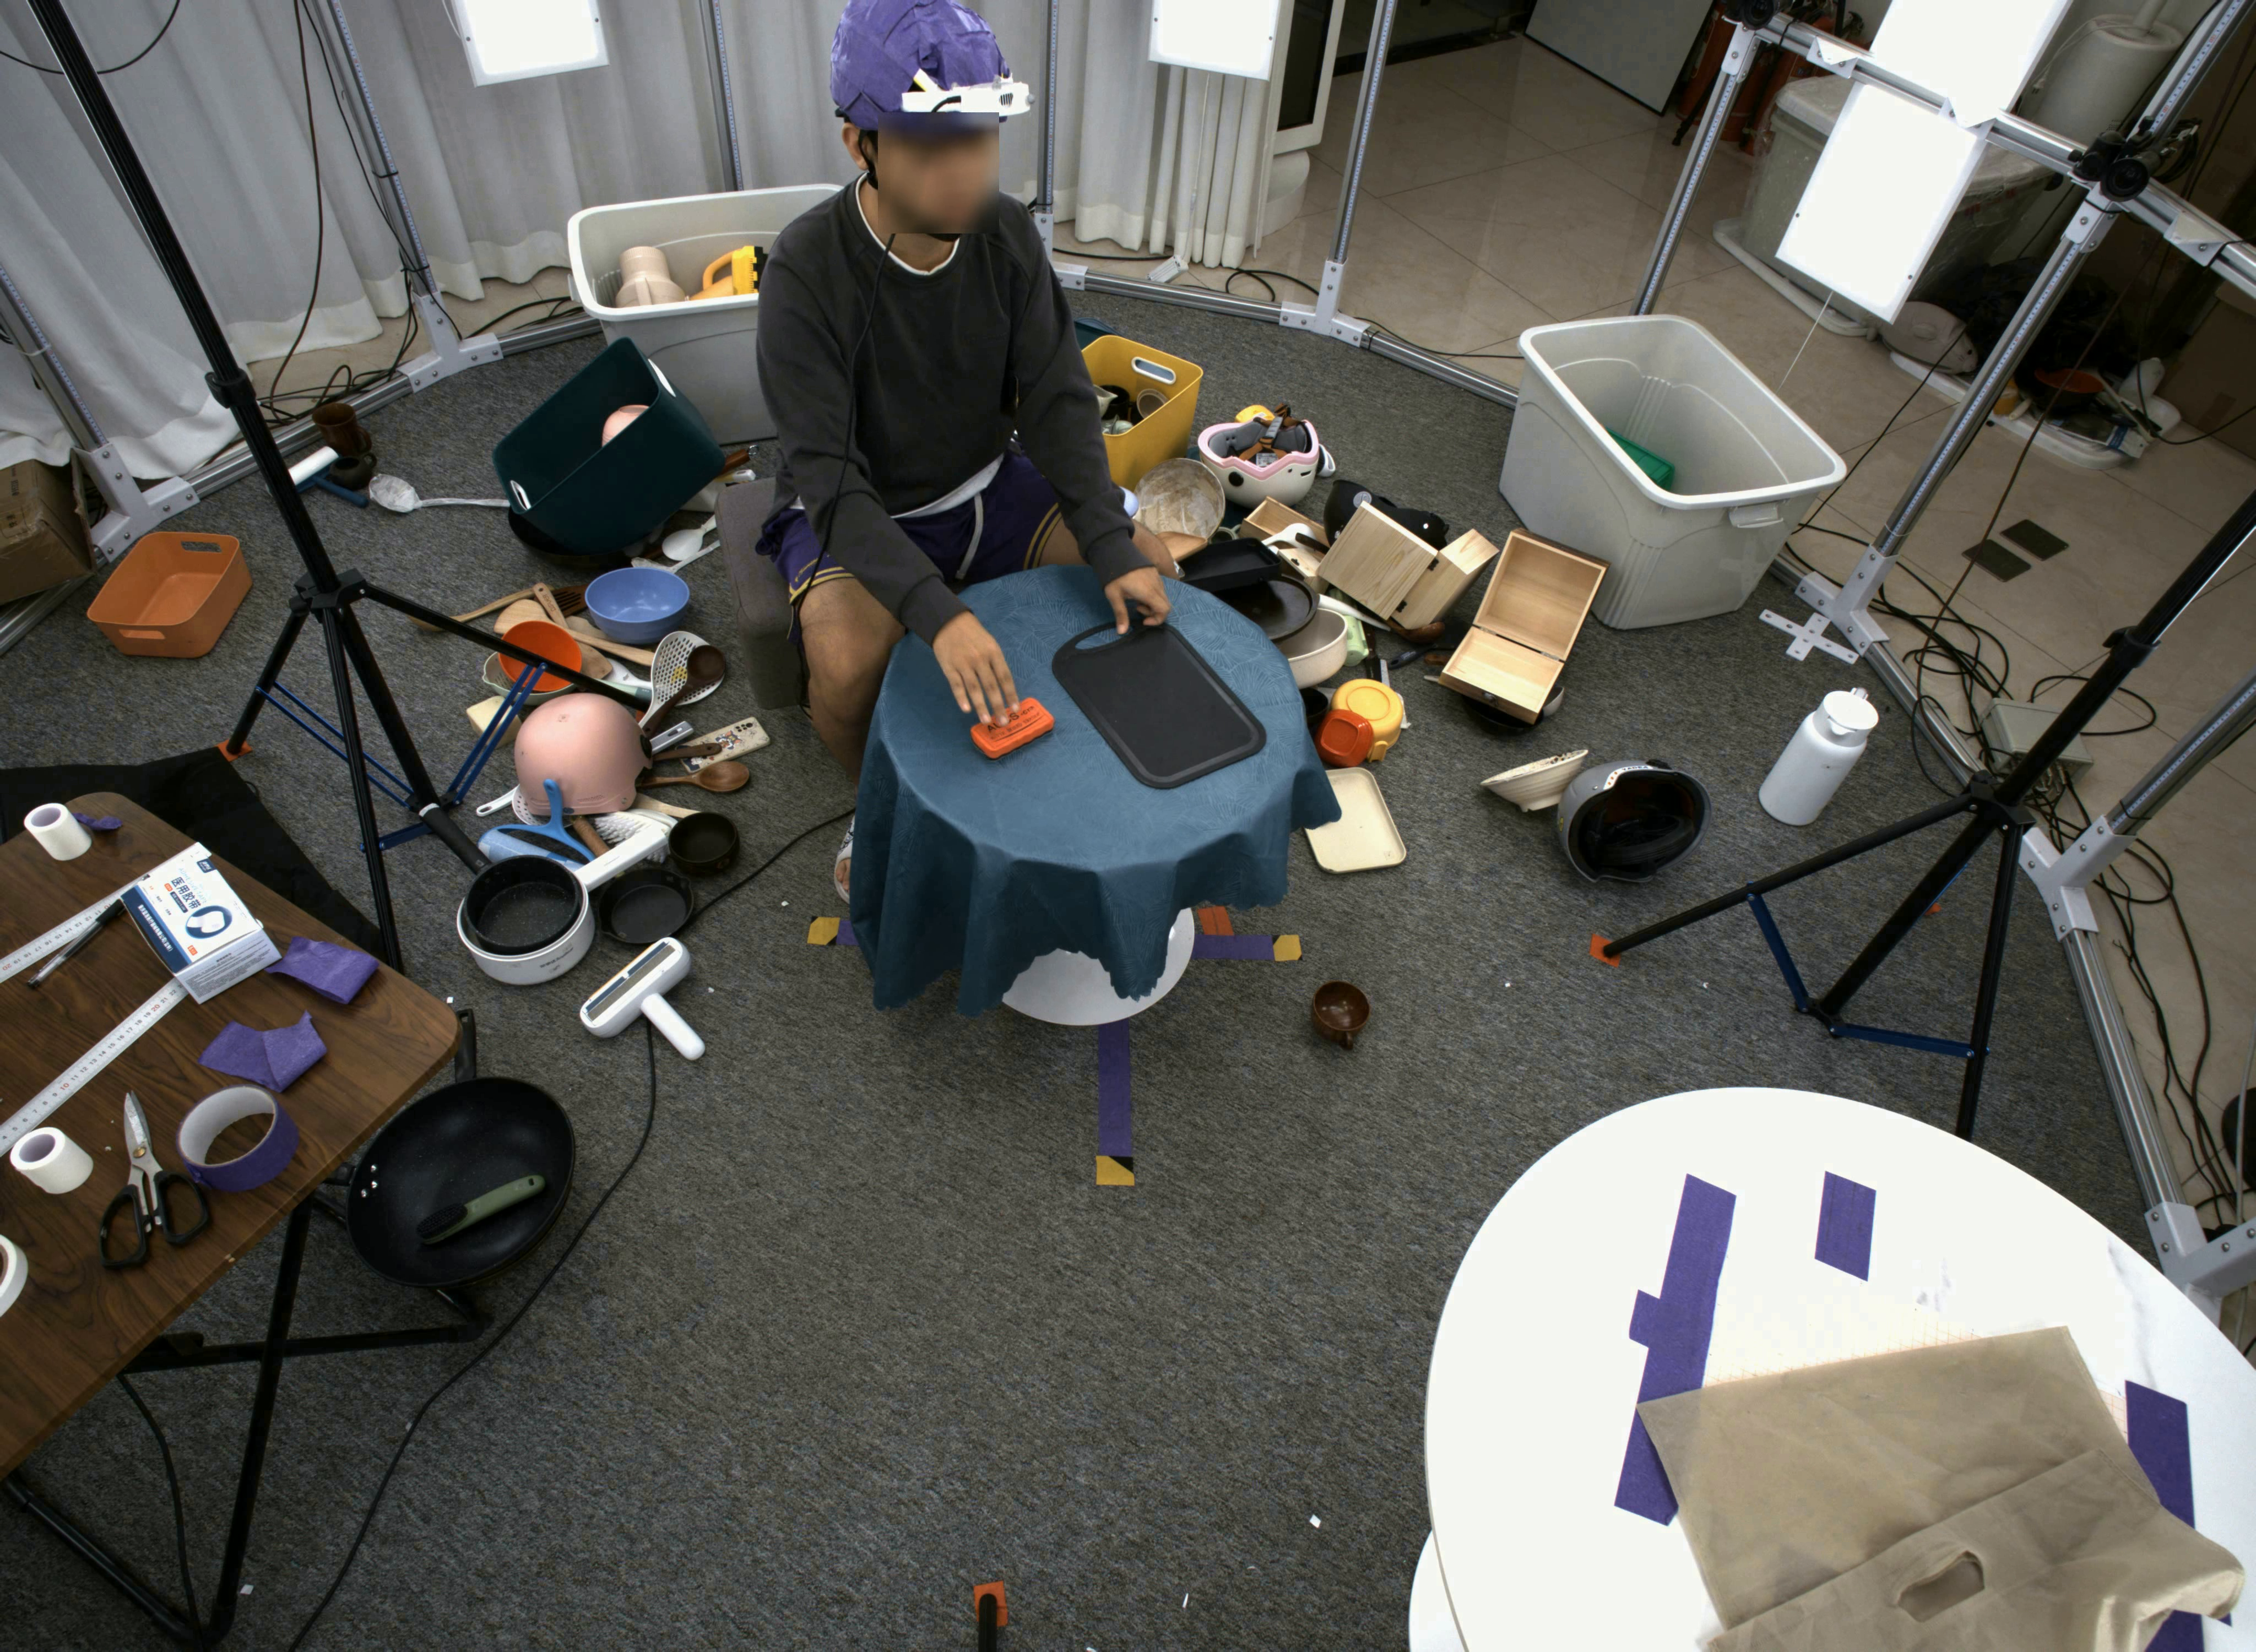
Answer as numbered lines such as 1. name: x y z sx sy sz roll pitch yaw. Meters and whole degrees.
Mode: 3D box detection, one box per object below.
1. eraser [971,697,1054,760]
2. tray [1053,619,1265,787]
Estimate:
1. eraser: -0.158 -0.134 1.753 0.109 0.022 0.060 -30 58 -28
2. tray: 0.036 -0.187 1.827 0.212 0.009 0.332 -22 54 -22
